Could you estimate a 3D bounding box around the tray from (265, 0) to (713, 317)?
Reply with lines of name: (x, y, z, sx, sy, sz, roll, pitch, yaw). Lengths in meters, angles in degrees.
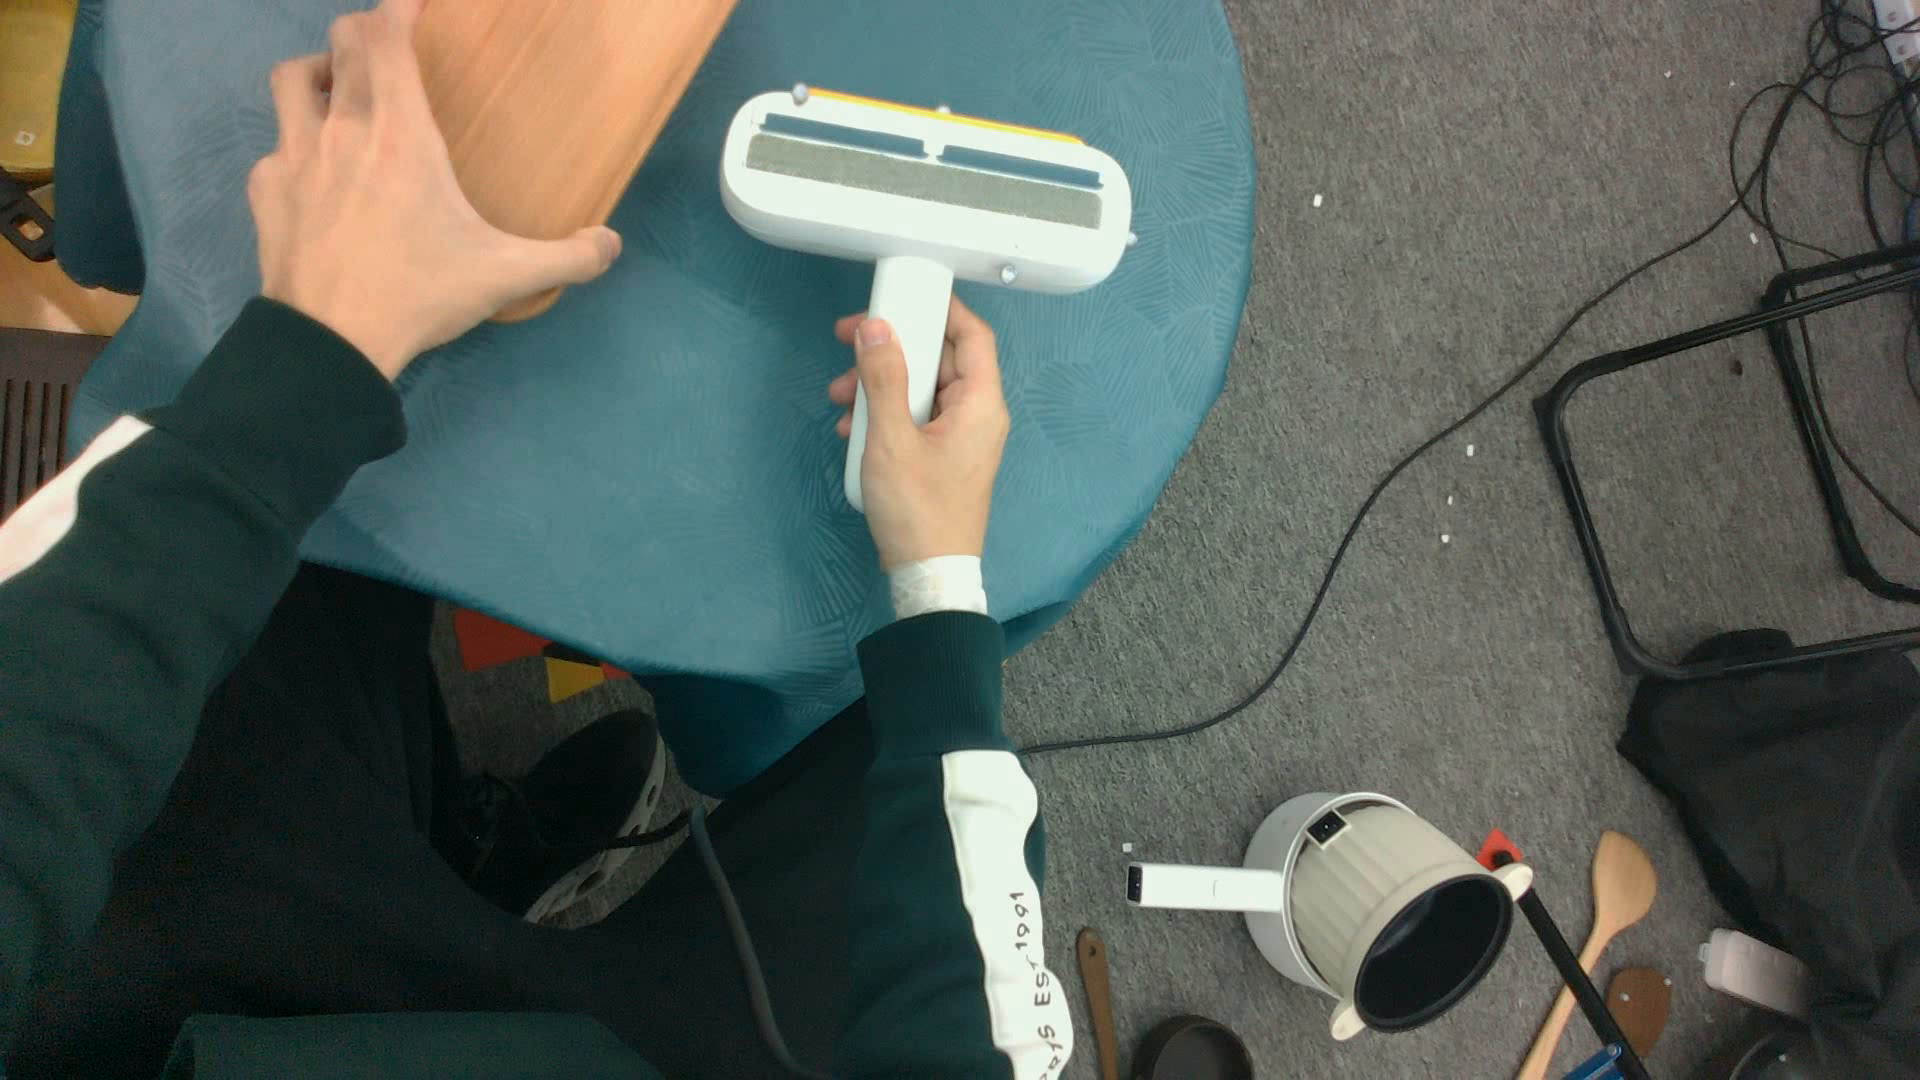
tray: (-0.193, -0.226, 0.613, 0.130, 0.023, 0.251, 29, 83, -2)

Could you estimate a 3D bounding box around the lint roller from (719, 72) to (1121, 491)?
lint roller: (-0.033, -0.114, 0.674, 0.193, 0.074, 0.192, 13, 98, -6)
